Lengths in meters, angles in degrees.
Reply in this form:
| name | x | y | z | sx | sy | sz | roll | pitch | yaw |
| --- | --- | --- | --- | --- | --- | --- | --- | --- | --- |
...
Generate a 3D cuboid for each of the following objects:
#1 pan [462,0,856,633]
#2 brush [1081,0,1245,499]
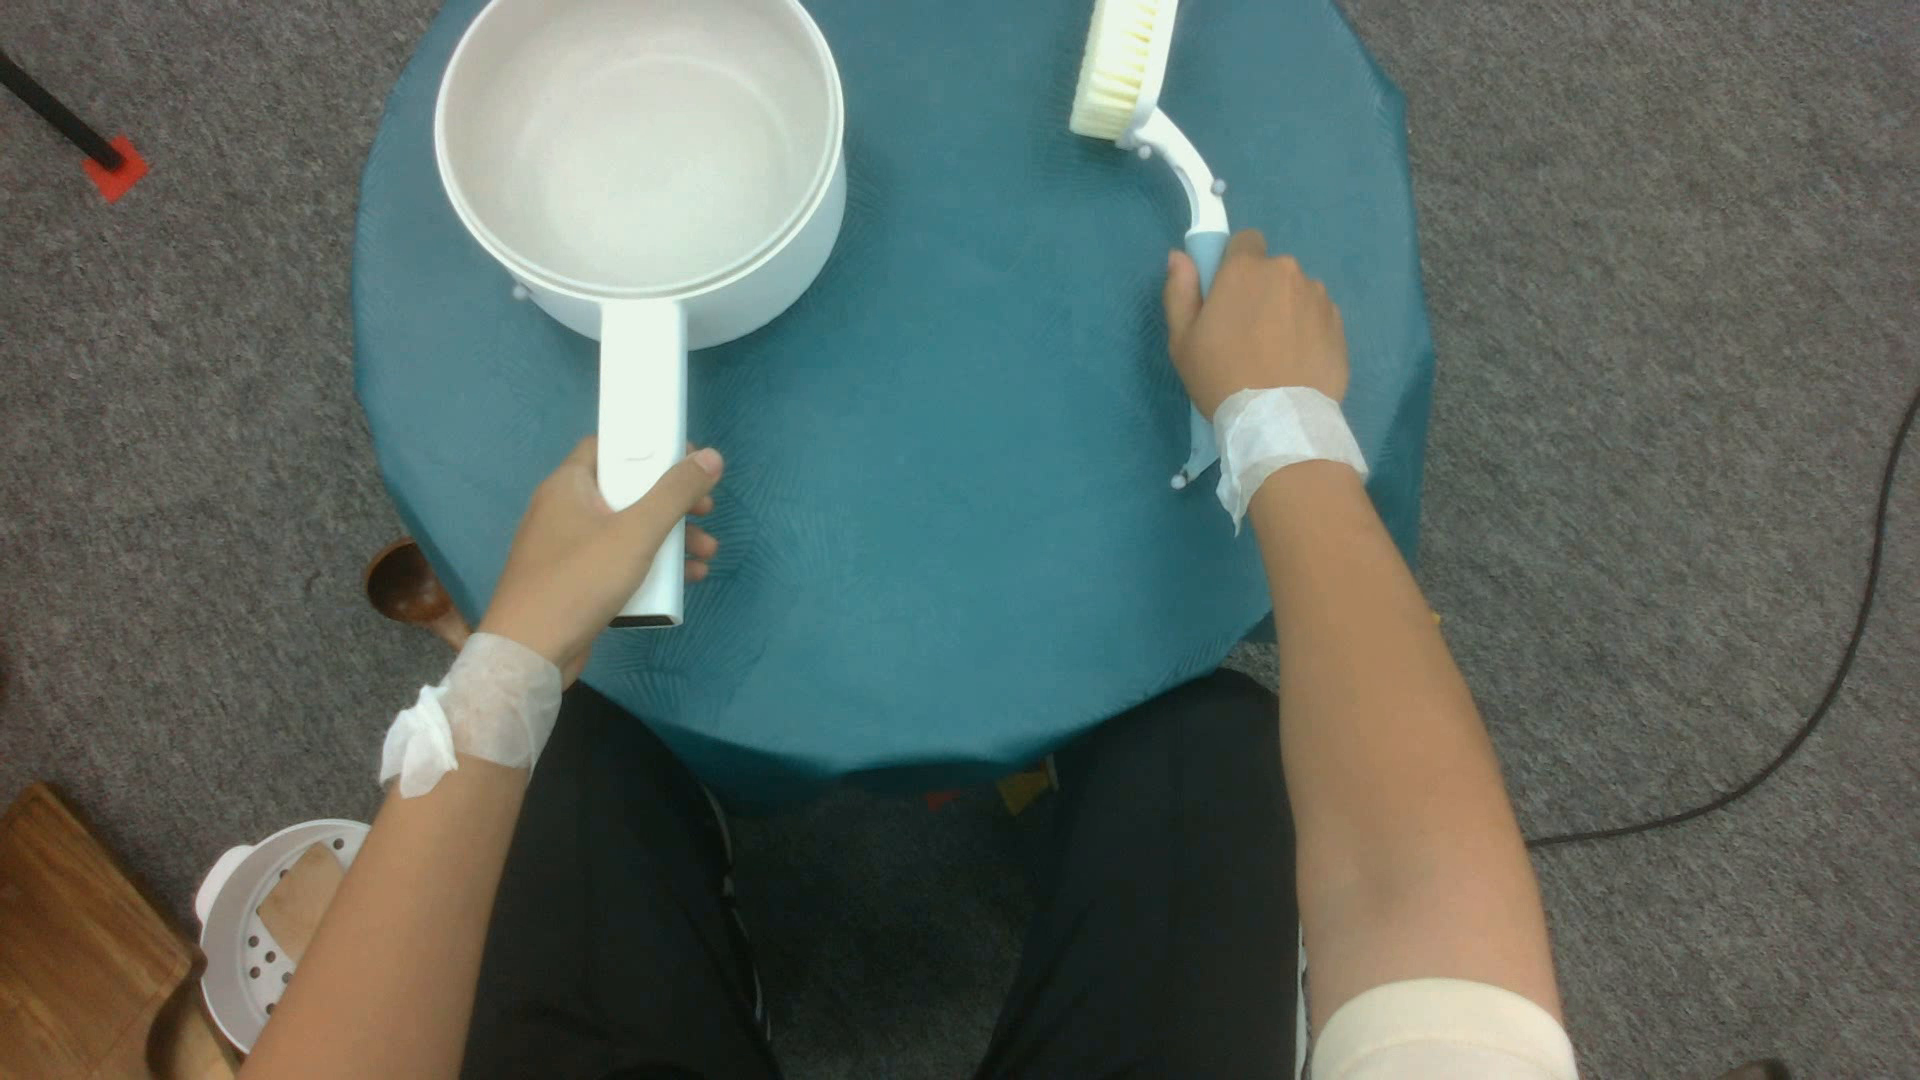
| name | x | y | z | sx | sy | sz | roll | pitch | yaw |
| --- | --- | --- | --- | --- | --- | --- | --- | --- | --- |
| pan | -0.152 | -0.123 | 0.730 | 0.201 | 0.102 | 0.355 | -2 | 76 | -1 |
| brush | 0.102 | -0.184 | 0.763 | 0.084 | 0.083 | 0.326 | -6 | 80 | 31 |
